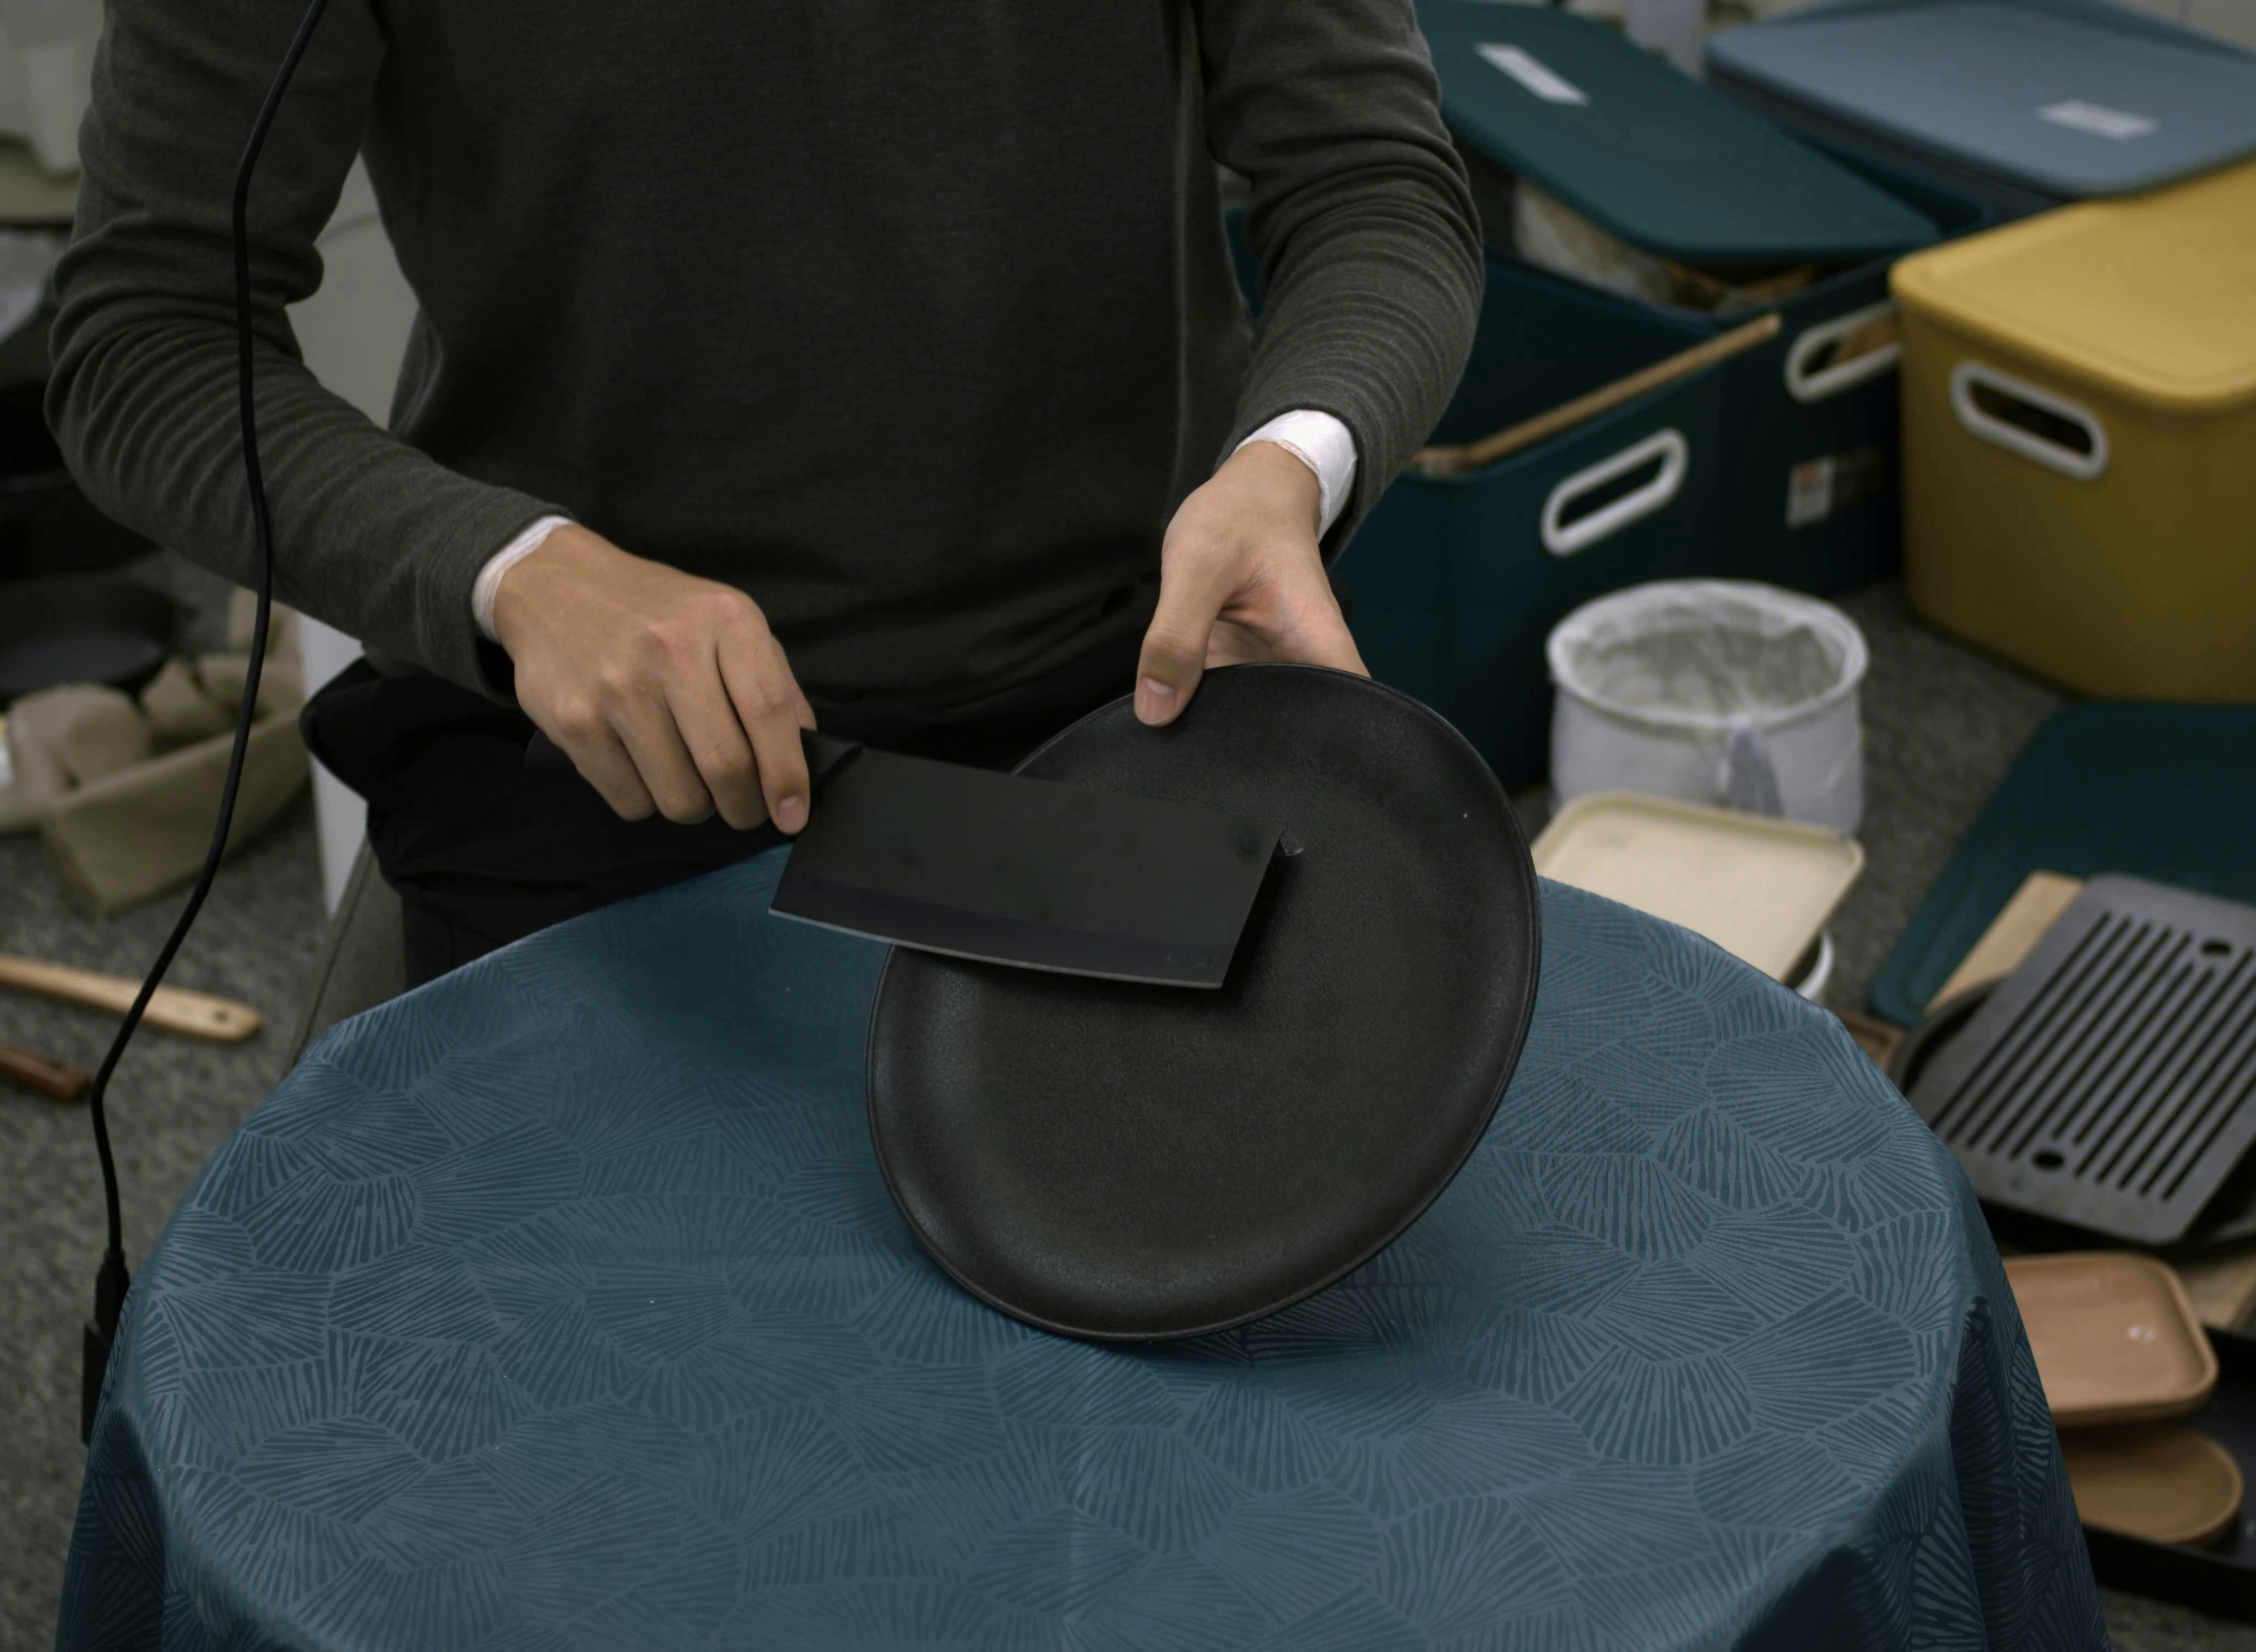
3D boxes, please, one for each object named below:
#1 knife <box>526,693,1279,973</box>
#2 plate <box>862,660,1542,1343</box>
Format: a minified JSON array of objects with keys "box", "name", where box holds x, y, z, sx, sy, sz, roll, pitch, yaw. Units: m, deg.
[{"box":[-0.084,-0.001,1.910,0.301,0.020,0.082,14,69,32],"name":"knife"},{"box":[0.025,0.058,1.831,0.242,0.023,0.249,-13,57,21],"name":"plate"}]
